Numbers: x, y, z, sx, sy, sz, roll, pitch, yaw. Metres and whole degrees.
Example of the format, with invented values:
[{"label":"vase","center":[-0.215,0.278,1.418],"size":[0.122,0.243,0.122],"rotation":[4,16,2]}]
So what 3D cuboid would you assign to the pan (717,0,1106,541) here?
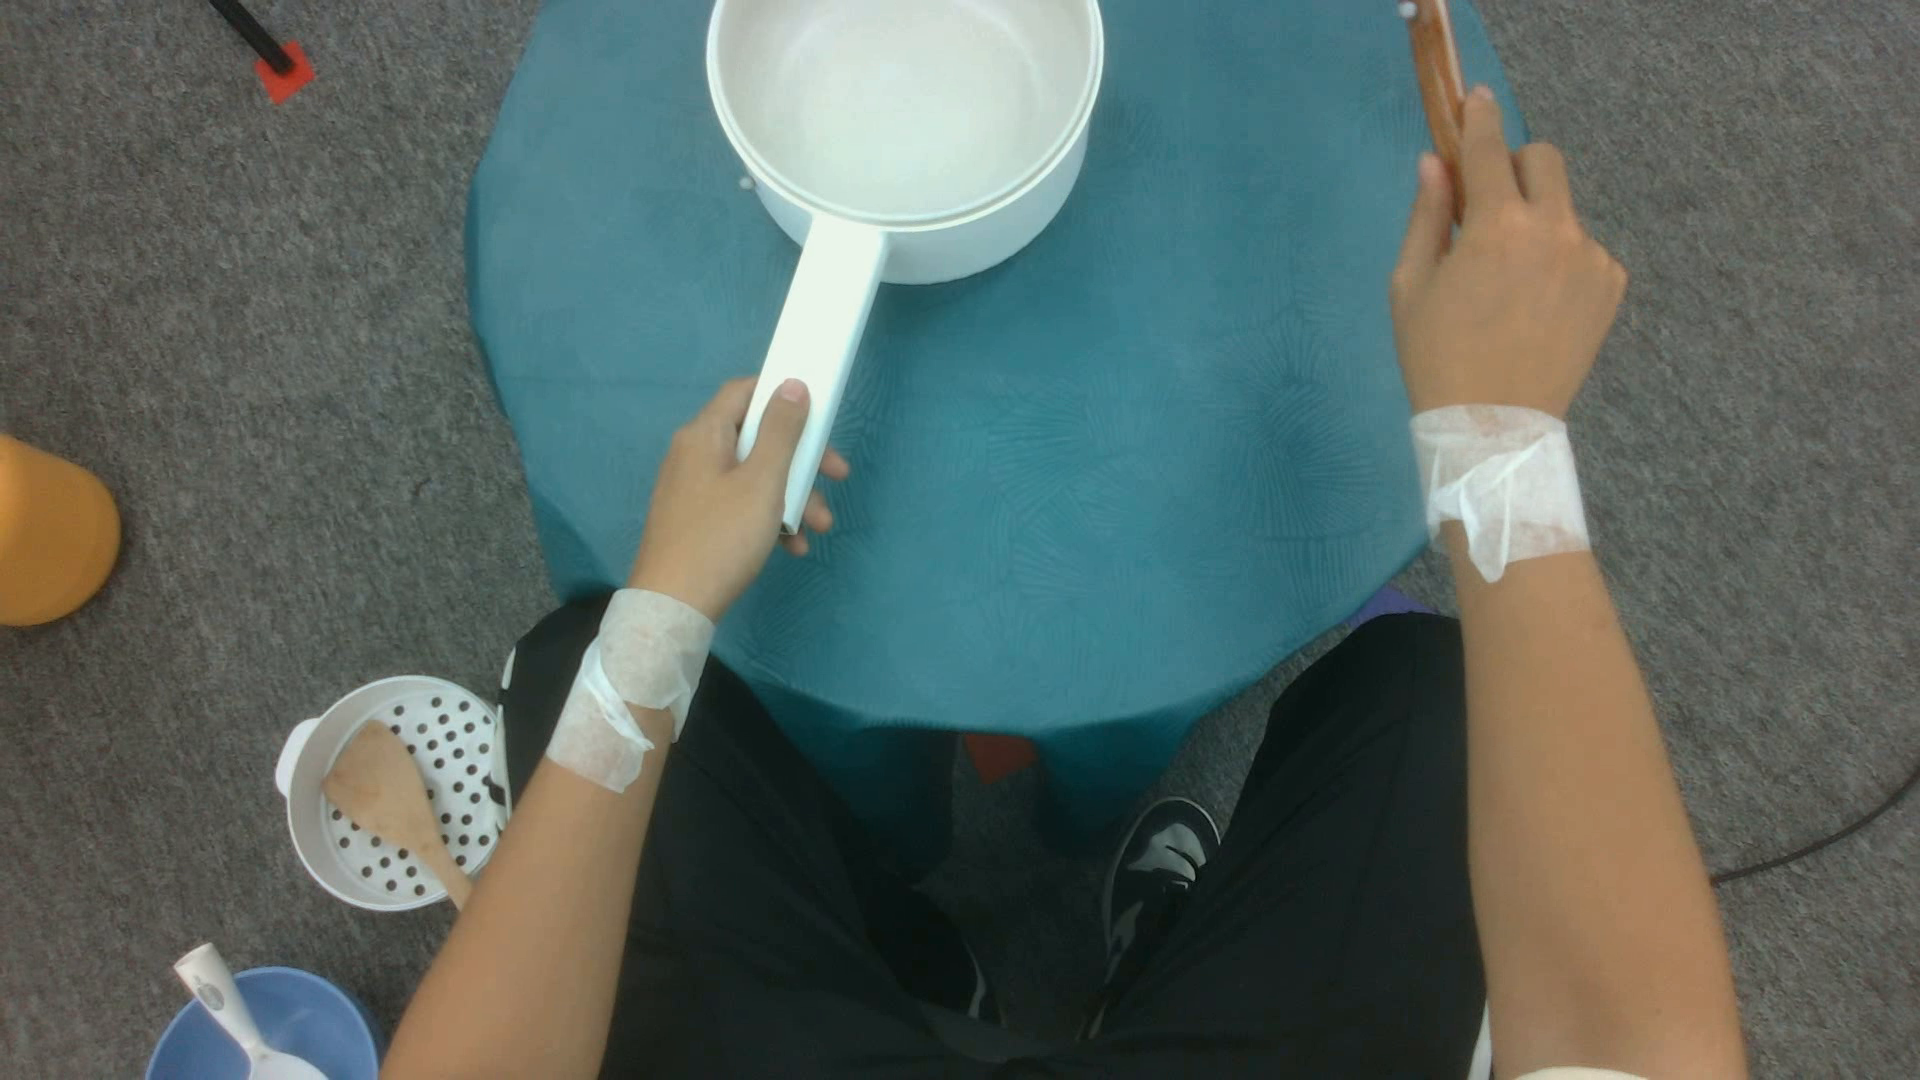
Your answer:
[{"label":"pan","center":[-0.044,-0.163,0.743],"size":[0.201,0.102,0.355],"rotation":[16,78,6]}]

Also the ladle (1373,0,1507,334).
[{"label":"ladle","center":[0.188,-0.223,0.633],"size":[0.077,0.081,0.275],"rotation":[1,69,-17]}]
